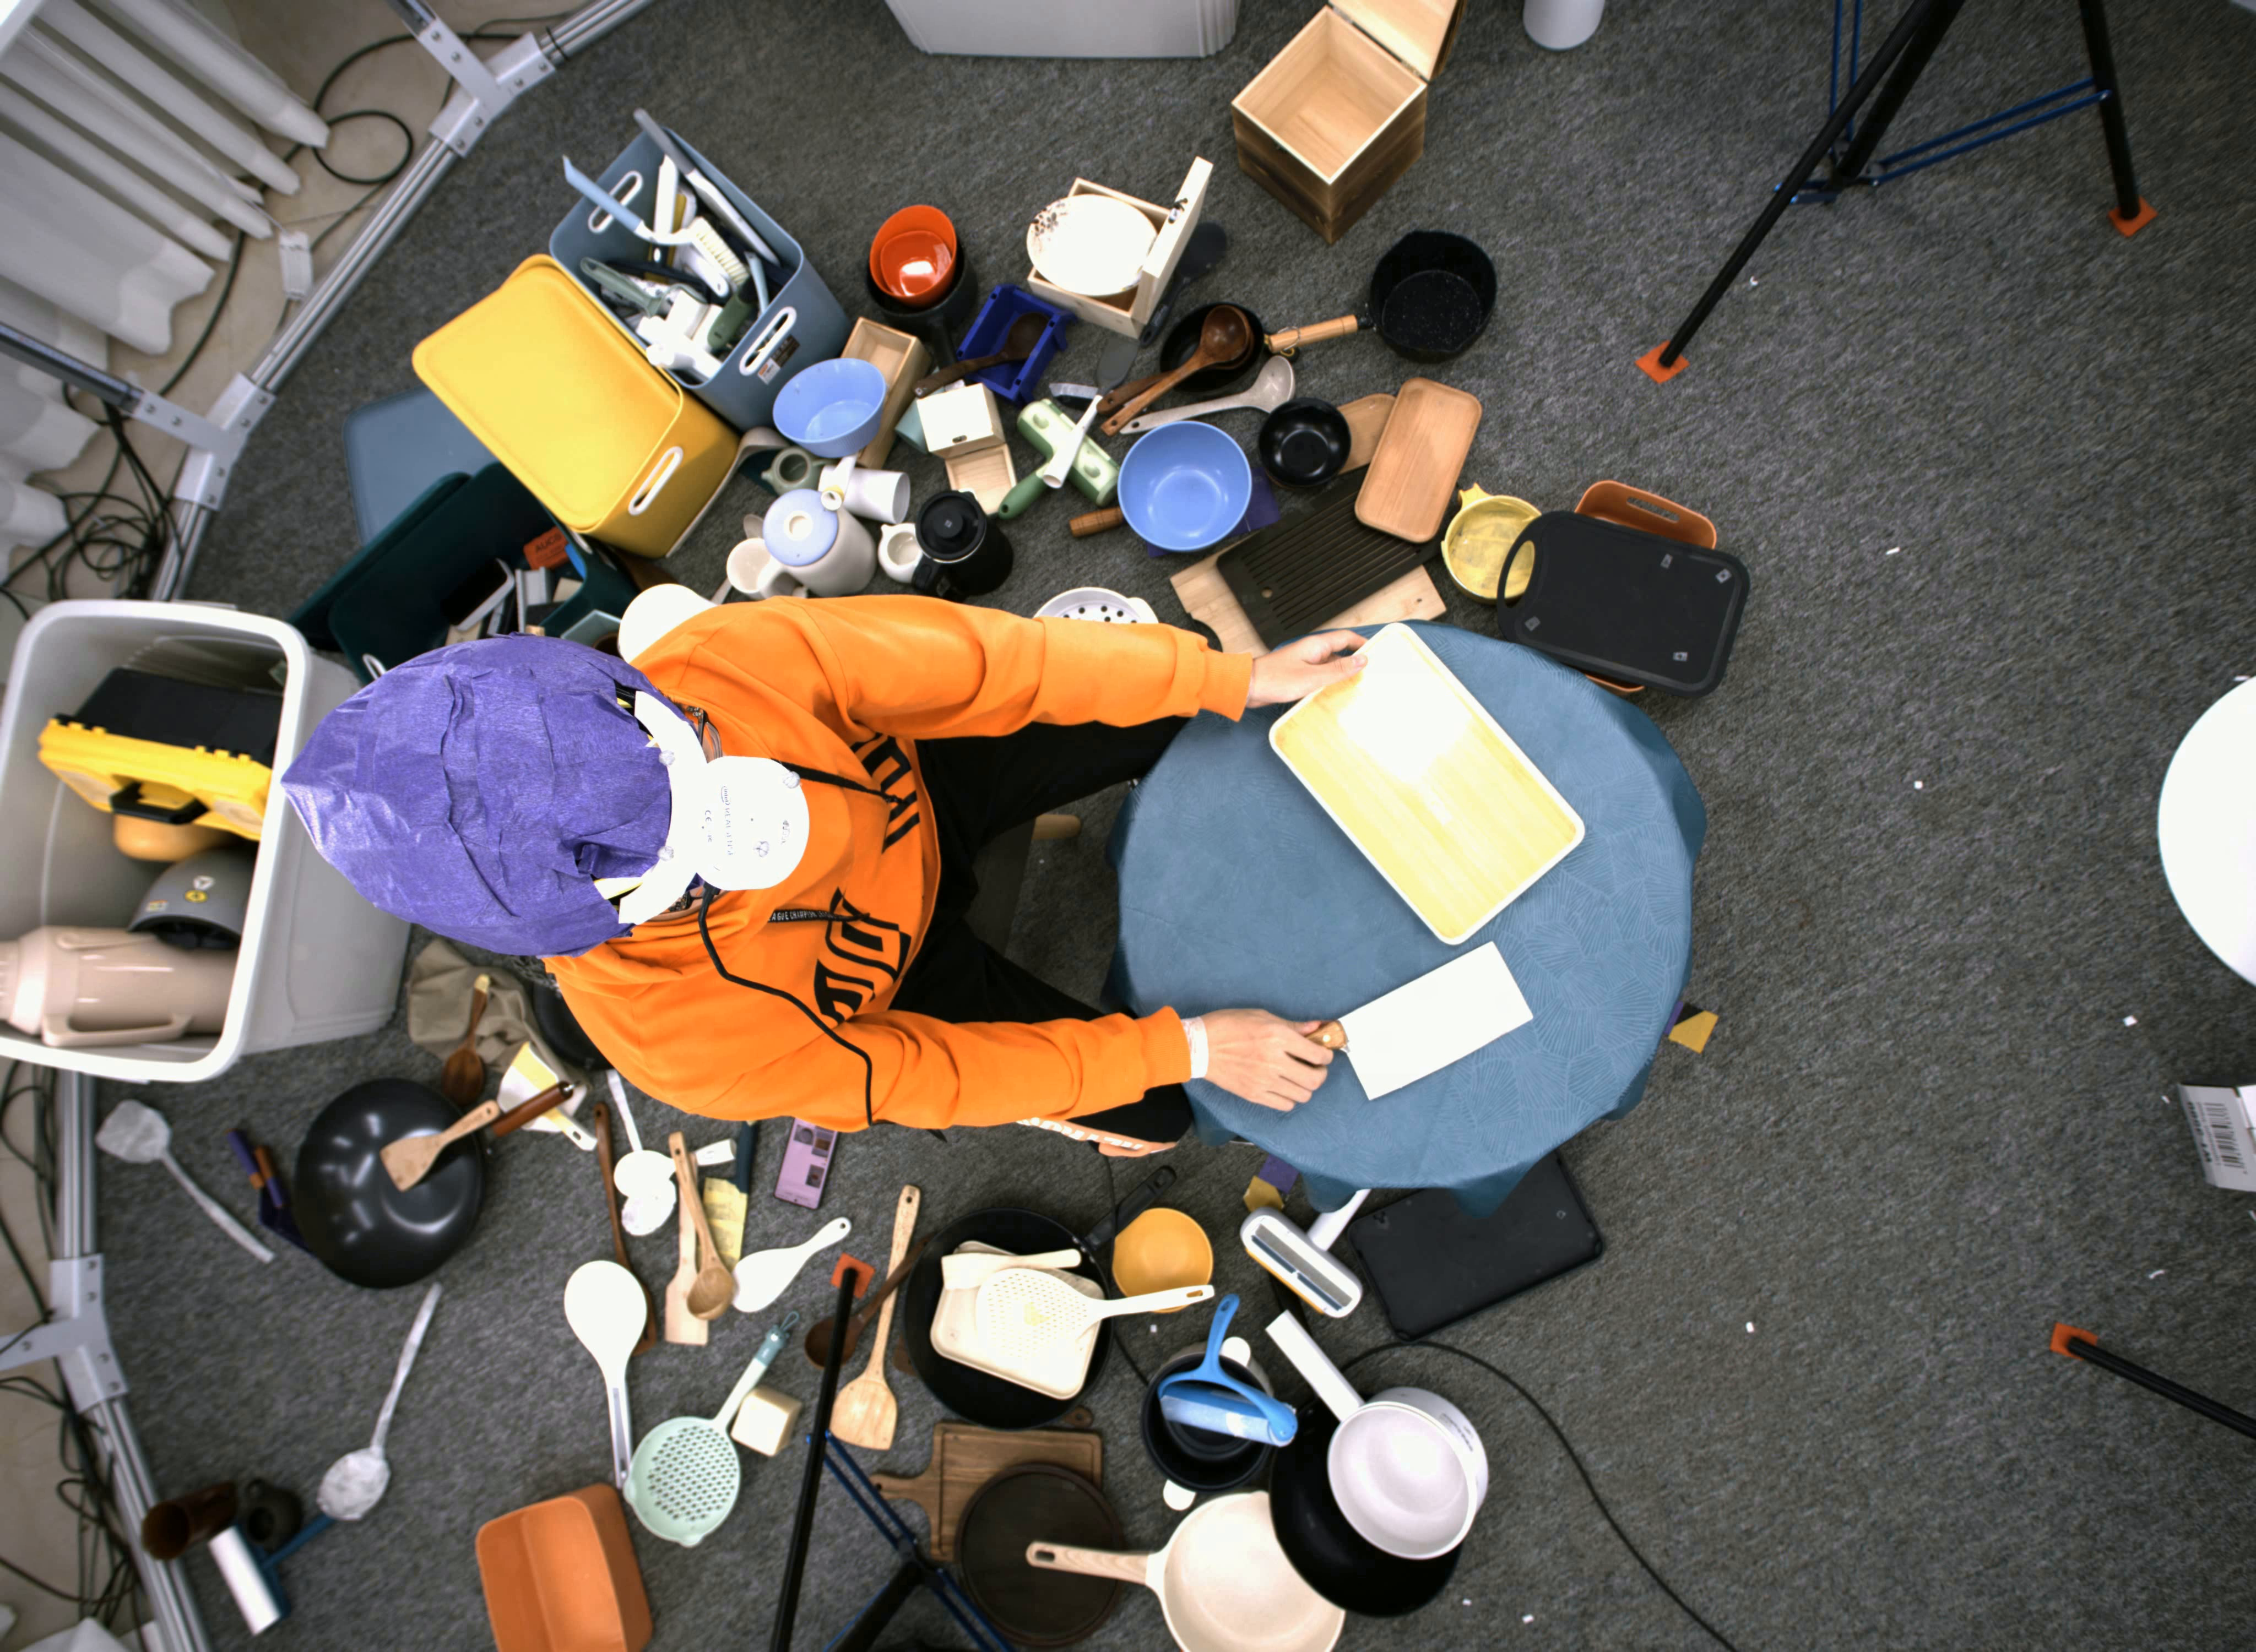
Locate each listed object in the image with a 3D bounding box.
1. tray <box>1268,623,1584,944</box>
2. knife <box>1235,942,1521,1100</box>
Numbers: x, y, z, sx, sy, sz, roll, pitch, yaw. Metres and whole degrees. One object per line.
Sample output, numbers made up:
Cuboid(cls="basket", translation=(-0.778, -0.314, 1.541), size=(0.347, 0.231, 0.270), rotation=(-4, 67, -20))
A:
Cuboid(cls="tray", translation=(0.308, -0.046, 1.433), size=(0.192, 0.027, 0.299), rotation=(-41, 86, 6))
Cuboid(cls="knife", translation=(0.263, 0.225, 1.439), size=(0.307, 0.021, 0.092), rotation=(-27, 86, 4))
